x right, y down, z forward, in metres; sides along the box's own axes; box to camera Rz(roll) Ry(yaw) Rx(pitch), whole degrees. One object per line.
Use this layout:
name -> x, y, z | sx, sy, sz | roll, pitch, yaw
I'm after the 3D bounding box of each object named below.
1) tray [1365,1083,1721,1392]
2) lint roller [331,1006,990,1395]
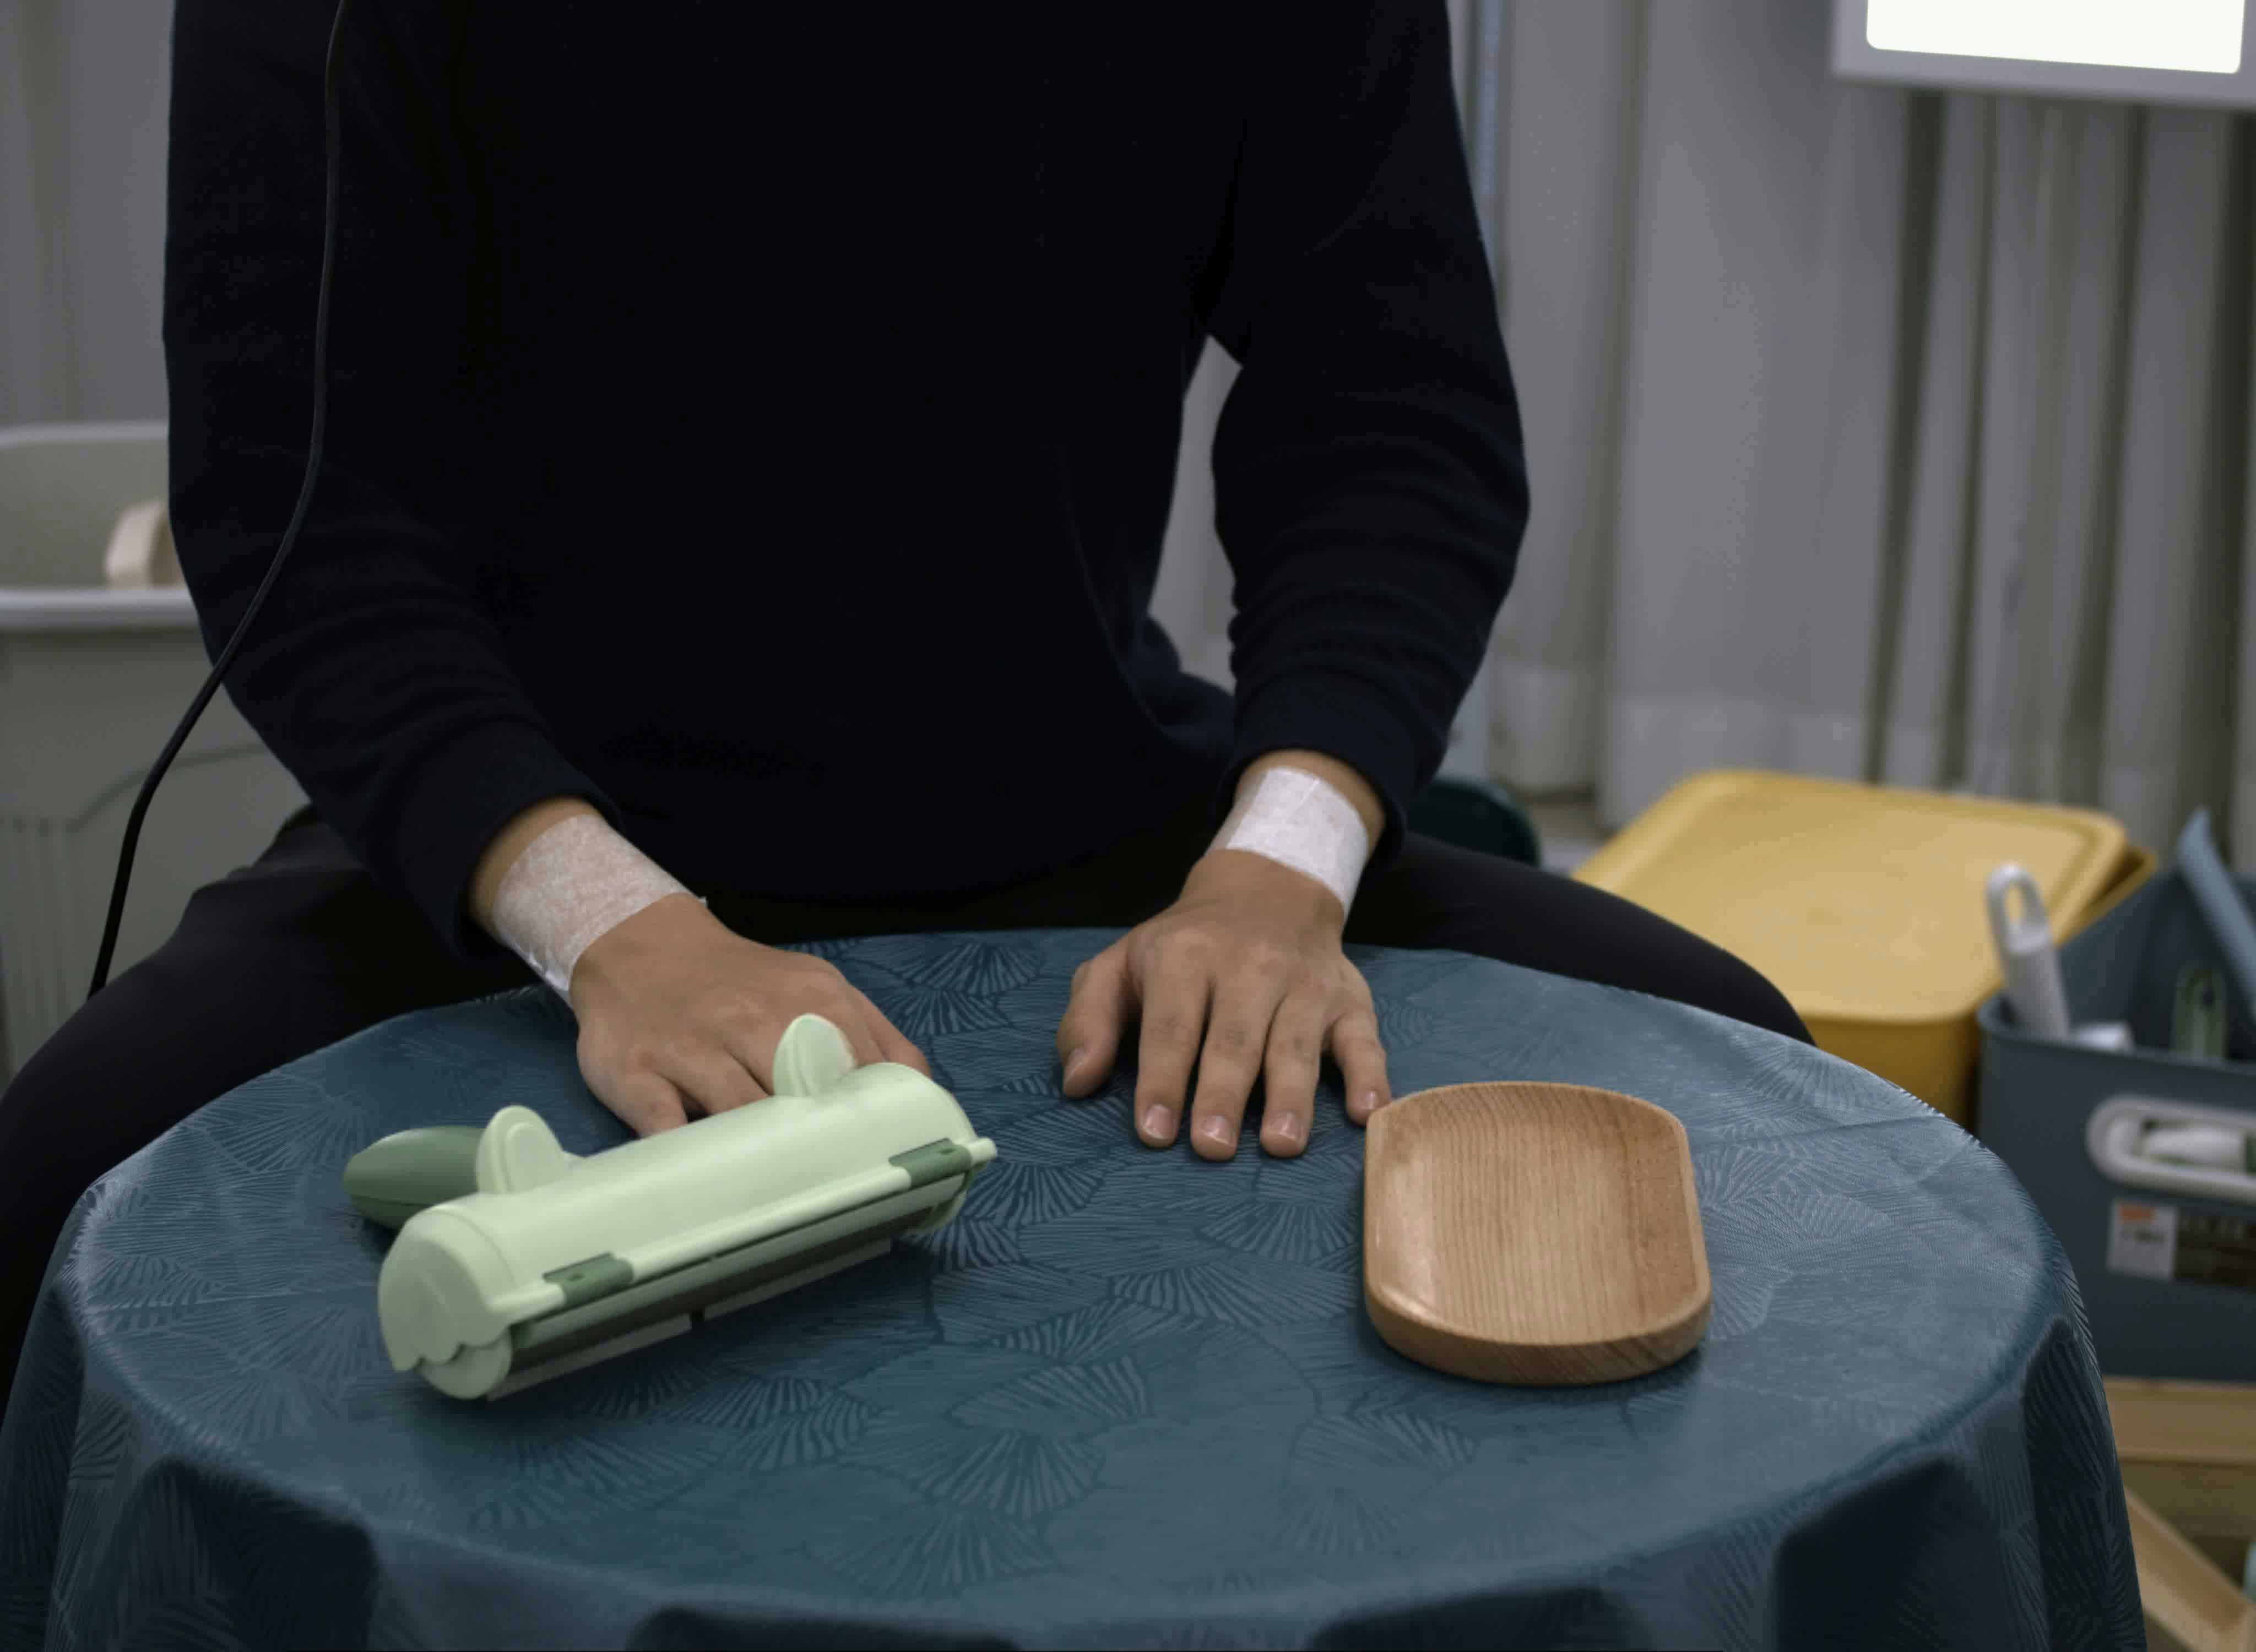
tray -> 0.121, 0.120, 1.569 | 0.101, 0.020, 0.230 | 0, 17, 2
lint roller -> -0.168, 0.091, 1.533 | 0.181, 0.083, 0.199 | 20, 24, 37
